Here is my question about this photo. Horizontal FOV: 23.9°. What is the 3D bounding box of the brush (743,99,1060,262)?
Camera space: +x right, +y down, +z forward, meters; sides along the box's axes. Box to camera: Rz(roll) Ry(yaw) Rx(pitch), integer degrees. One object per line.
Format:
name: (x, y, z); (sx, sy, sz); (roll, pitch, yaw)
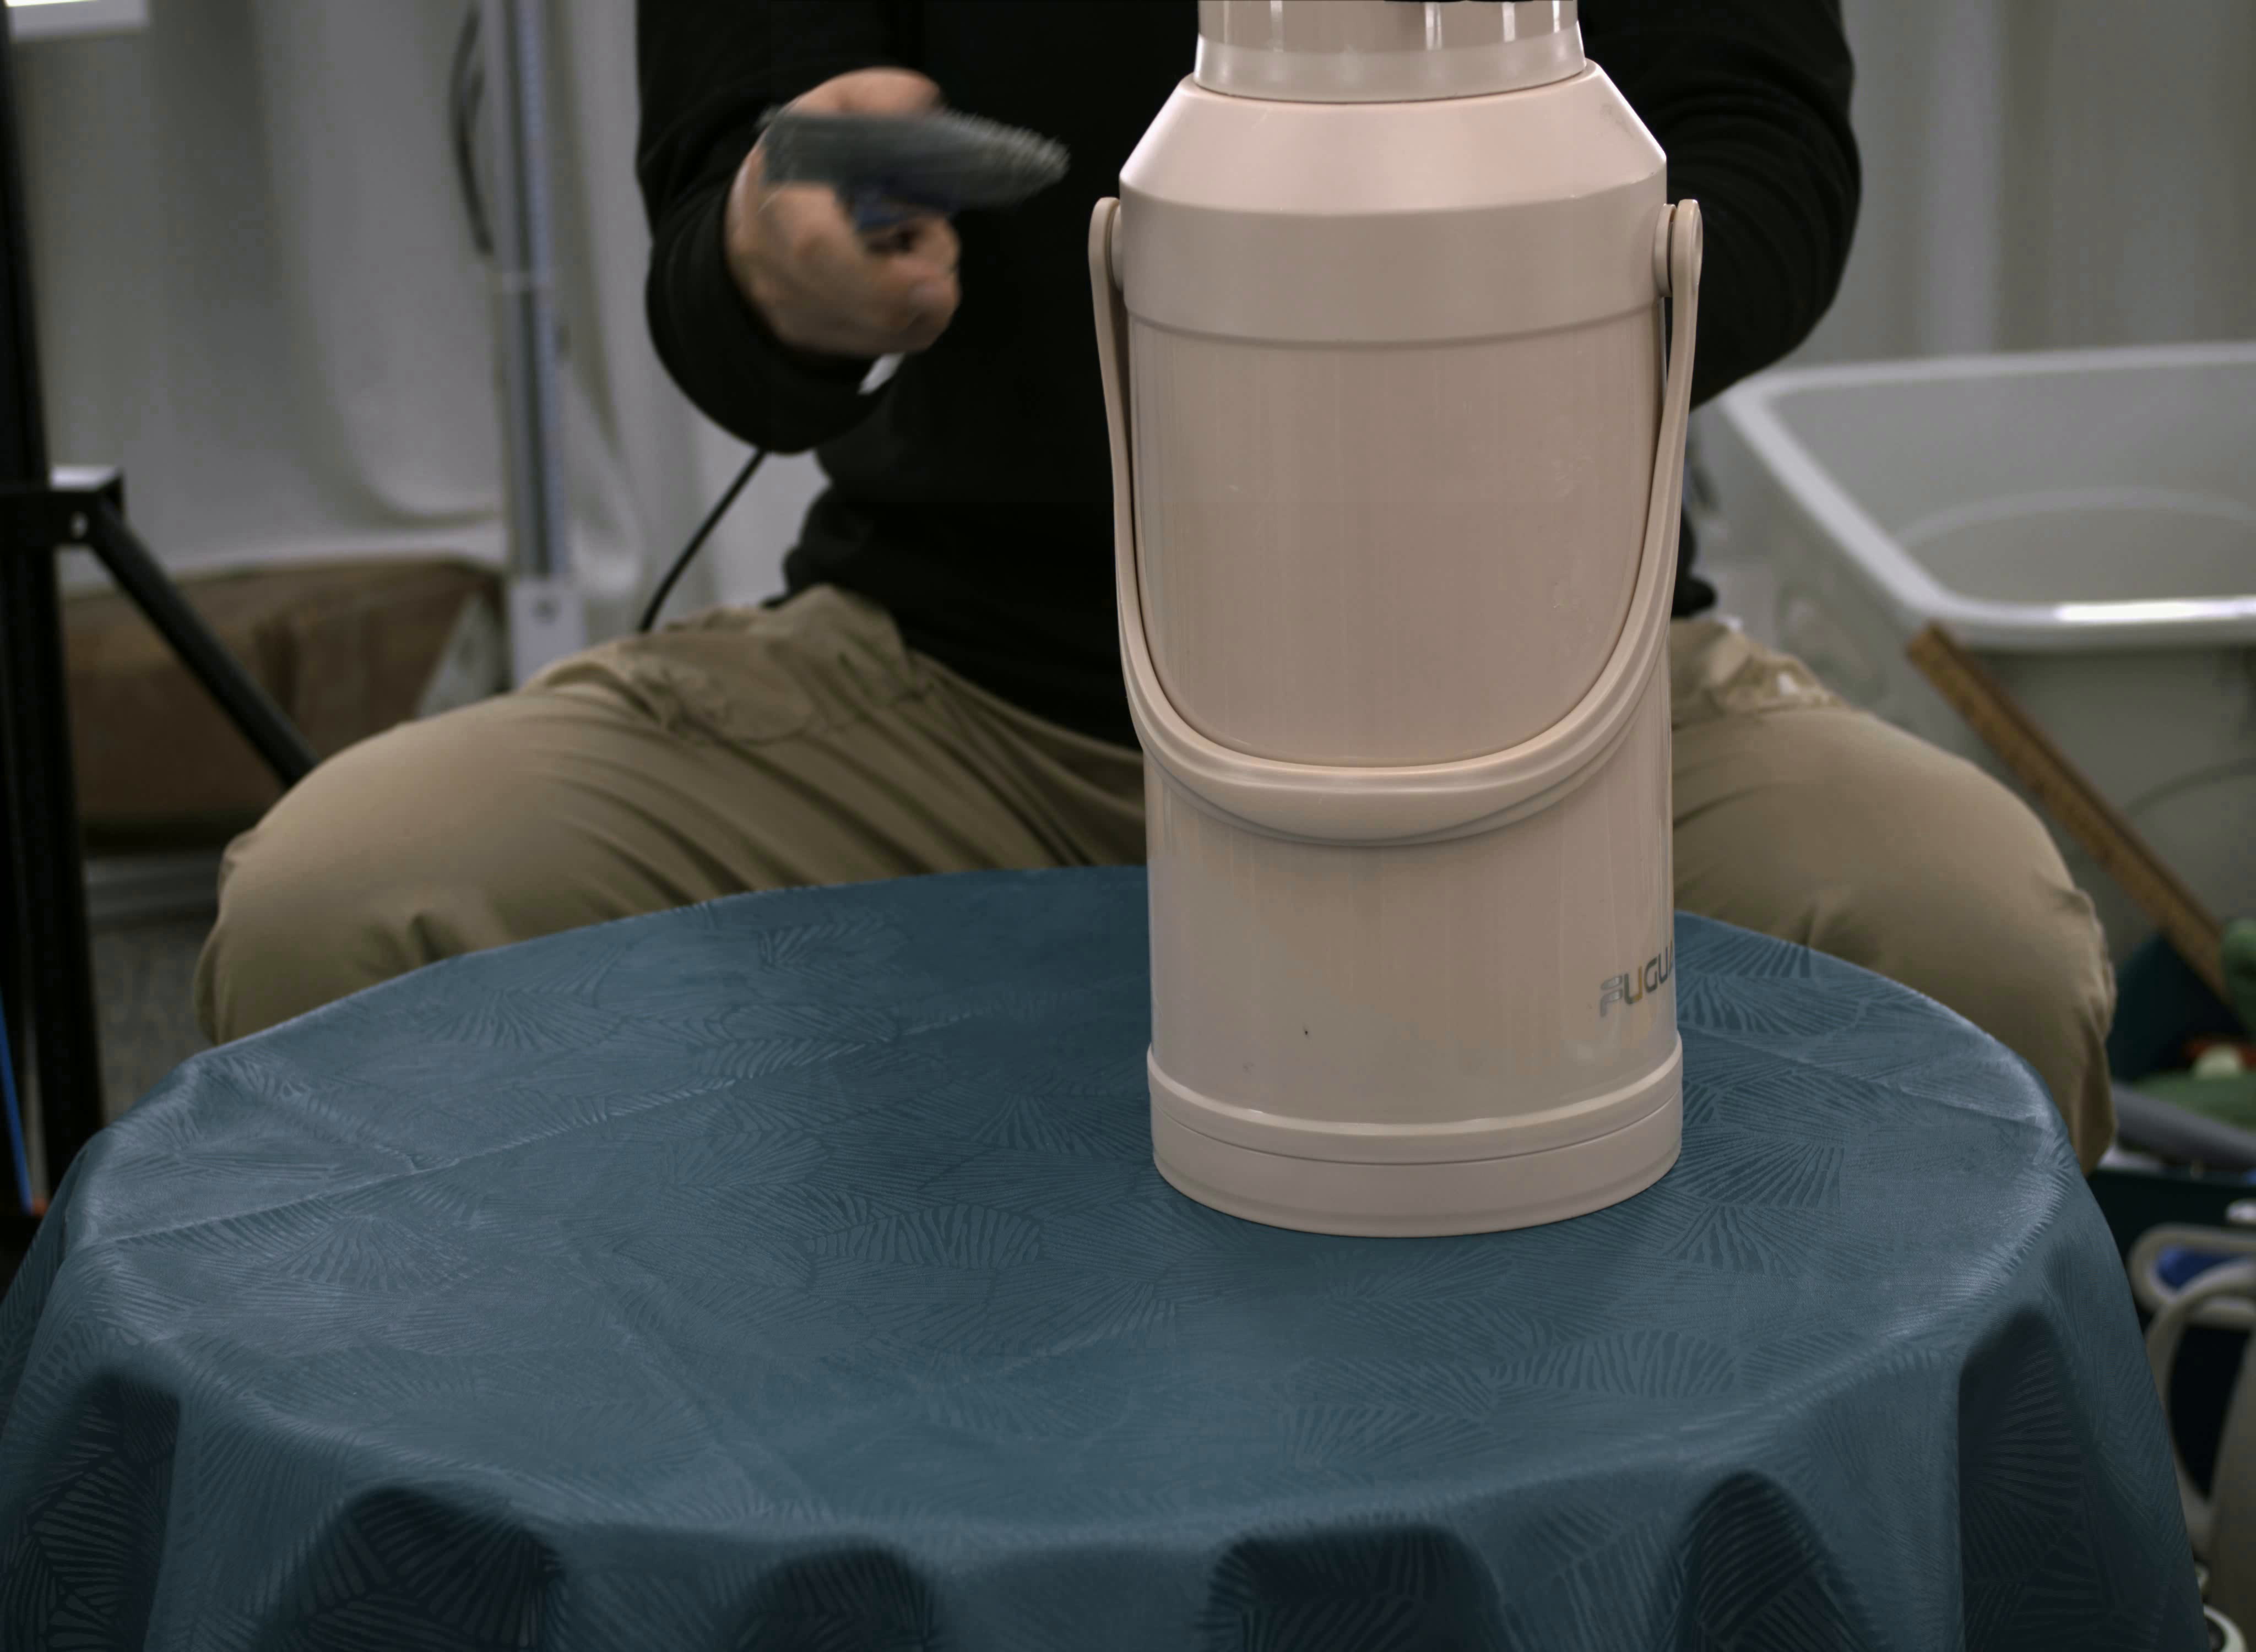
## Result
brush: (-0.077, -0.194, 1.595); (0.094, 0.033, 0.275); (-3, 2, -8)

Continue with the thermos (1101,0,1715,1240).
thermos: (0.087, -0.098, 1.545); (0.176, 0.406, 0.205); (0, 15, 15)
